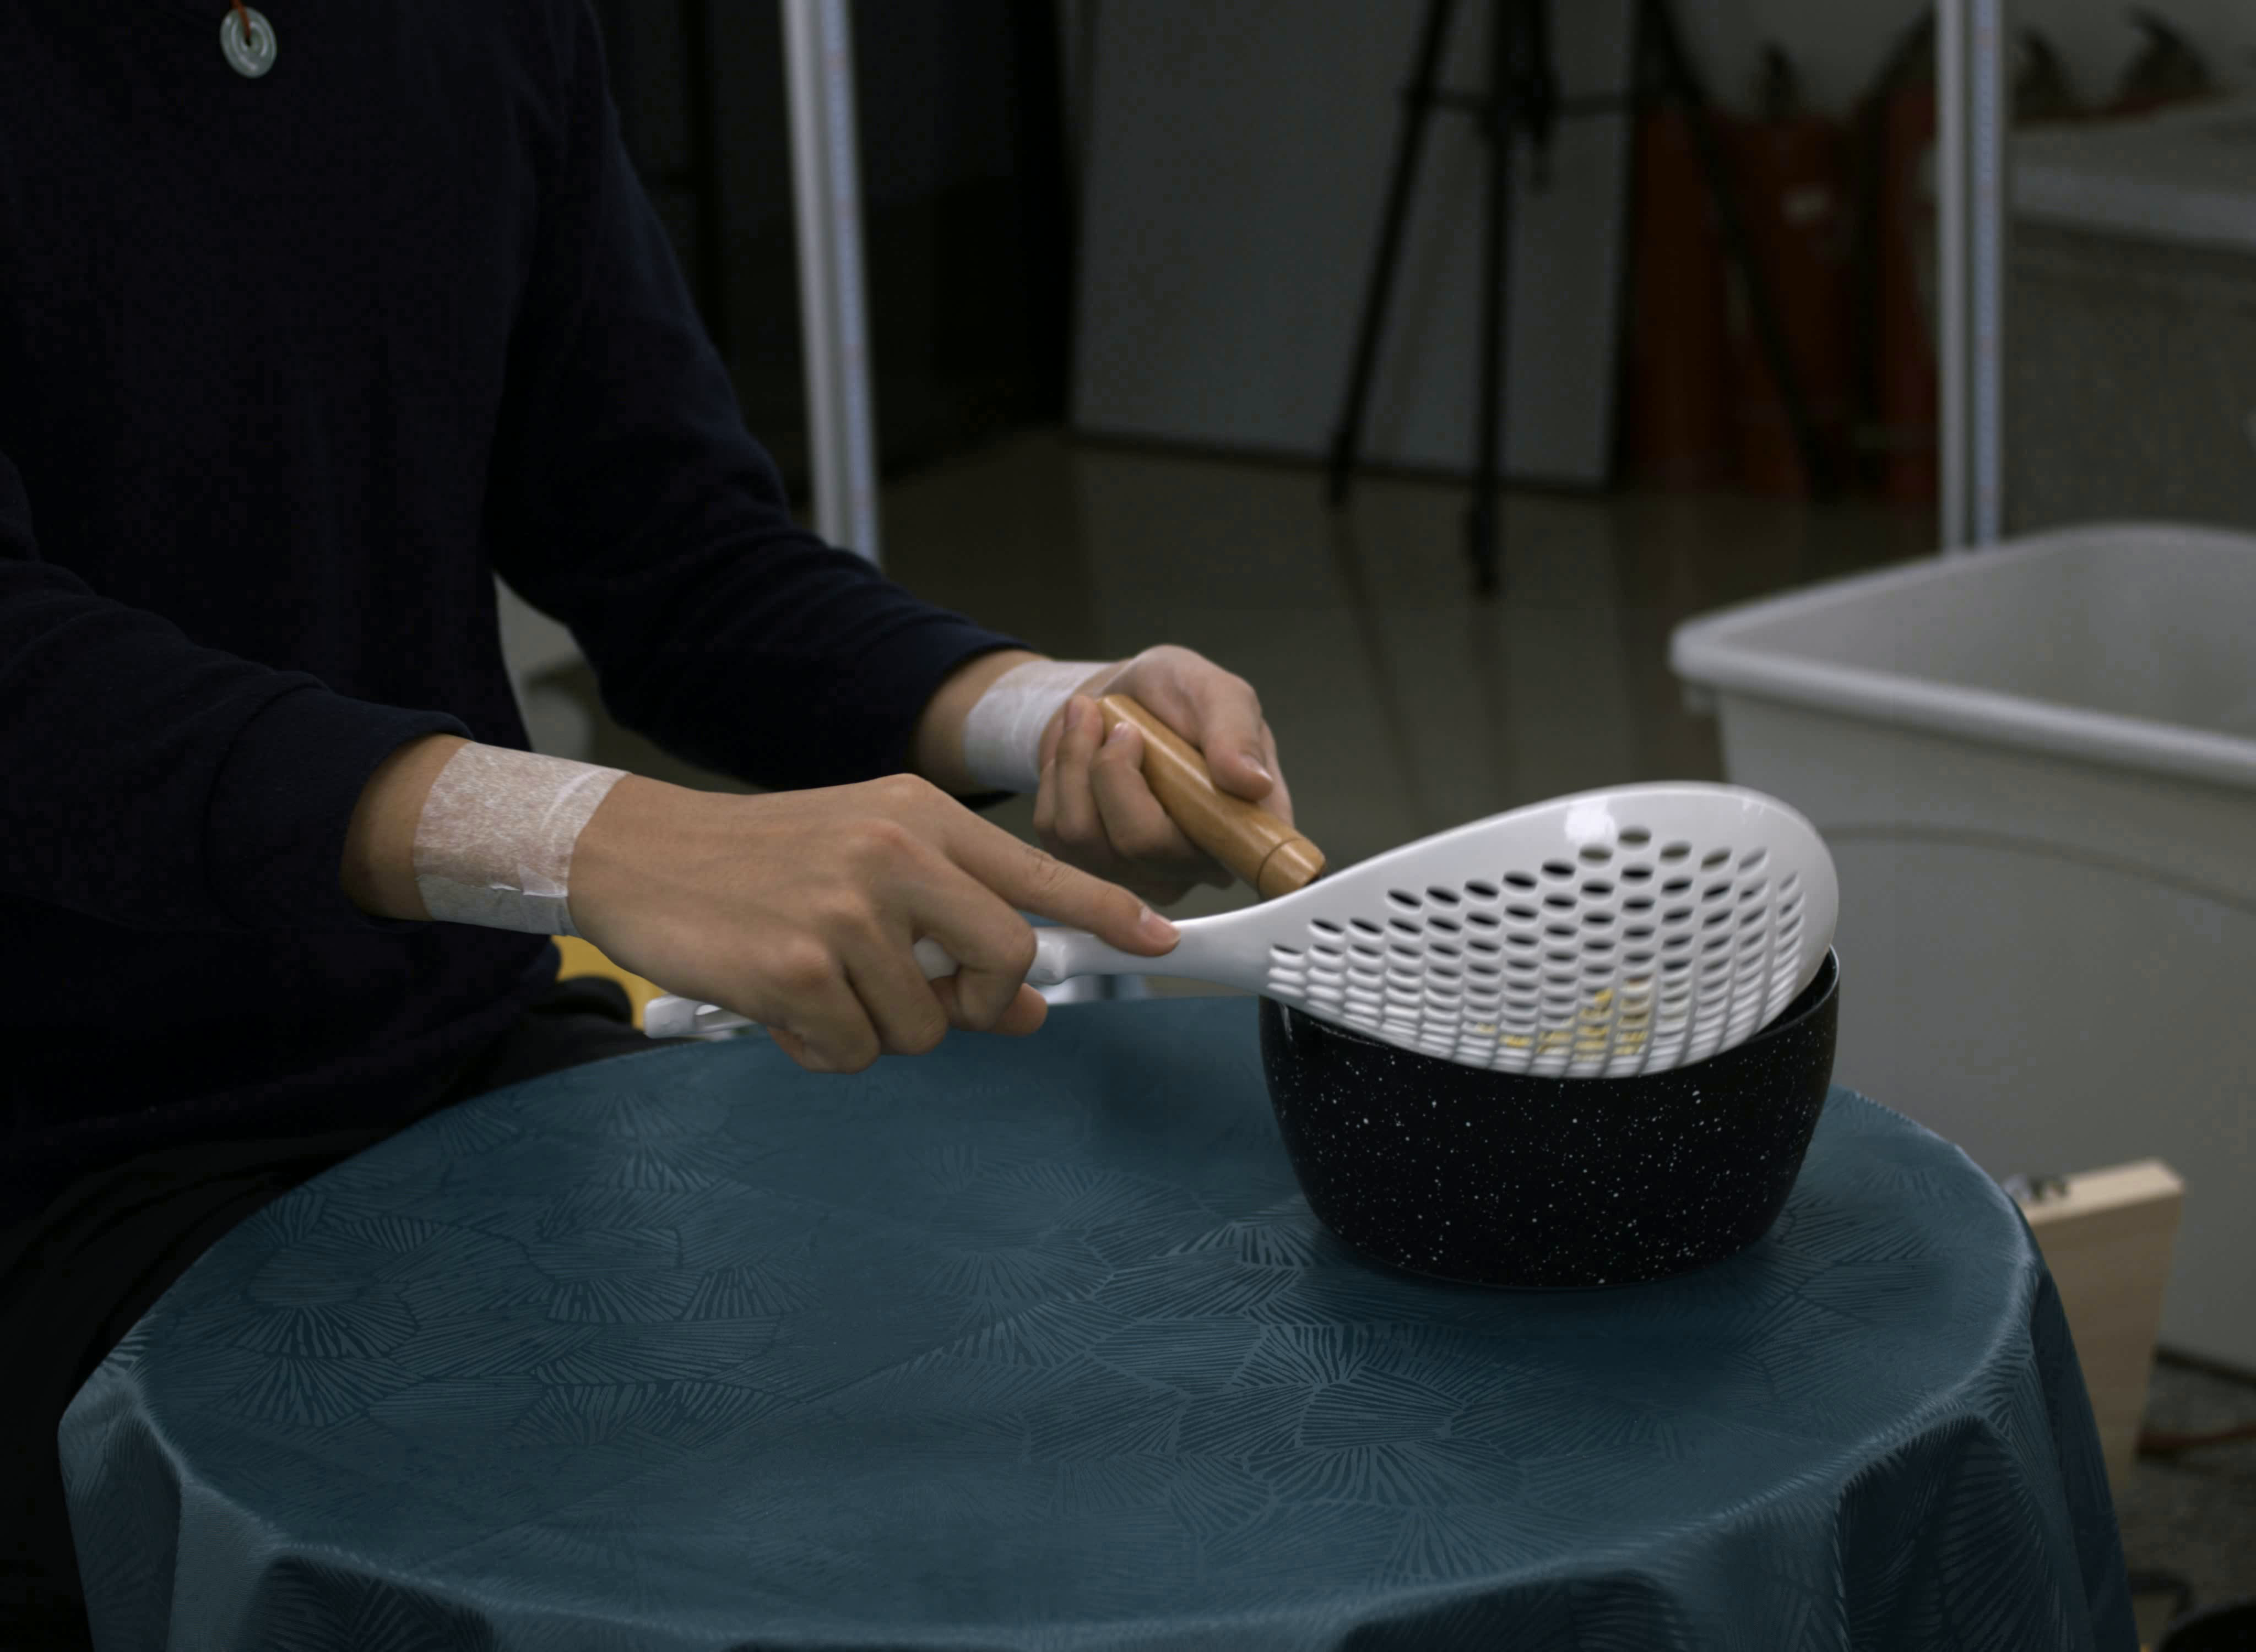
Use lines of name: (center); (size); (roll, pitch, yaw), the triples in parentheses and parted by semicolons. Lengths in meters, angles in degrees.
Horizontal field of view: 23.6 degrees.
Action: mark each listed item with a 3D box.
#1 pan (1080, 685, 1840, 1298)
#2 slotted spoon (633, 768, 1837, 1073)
pan: (0.086, 0.048, 1.757); (0.203, 0.109, 0.346); (-15, 24, -32)
slotted spoon: (0.032, 0.037, 1.541); (0.343, 0.137, 0.051); (2, 54, 0)
